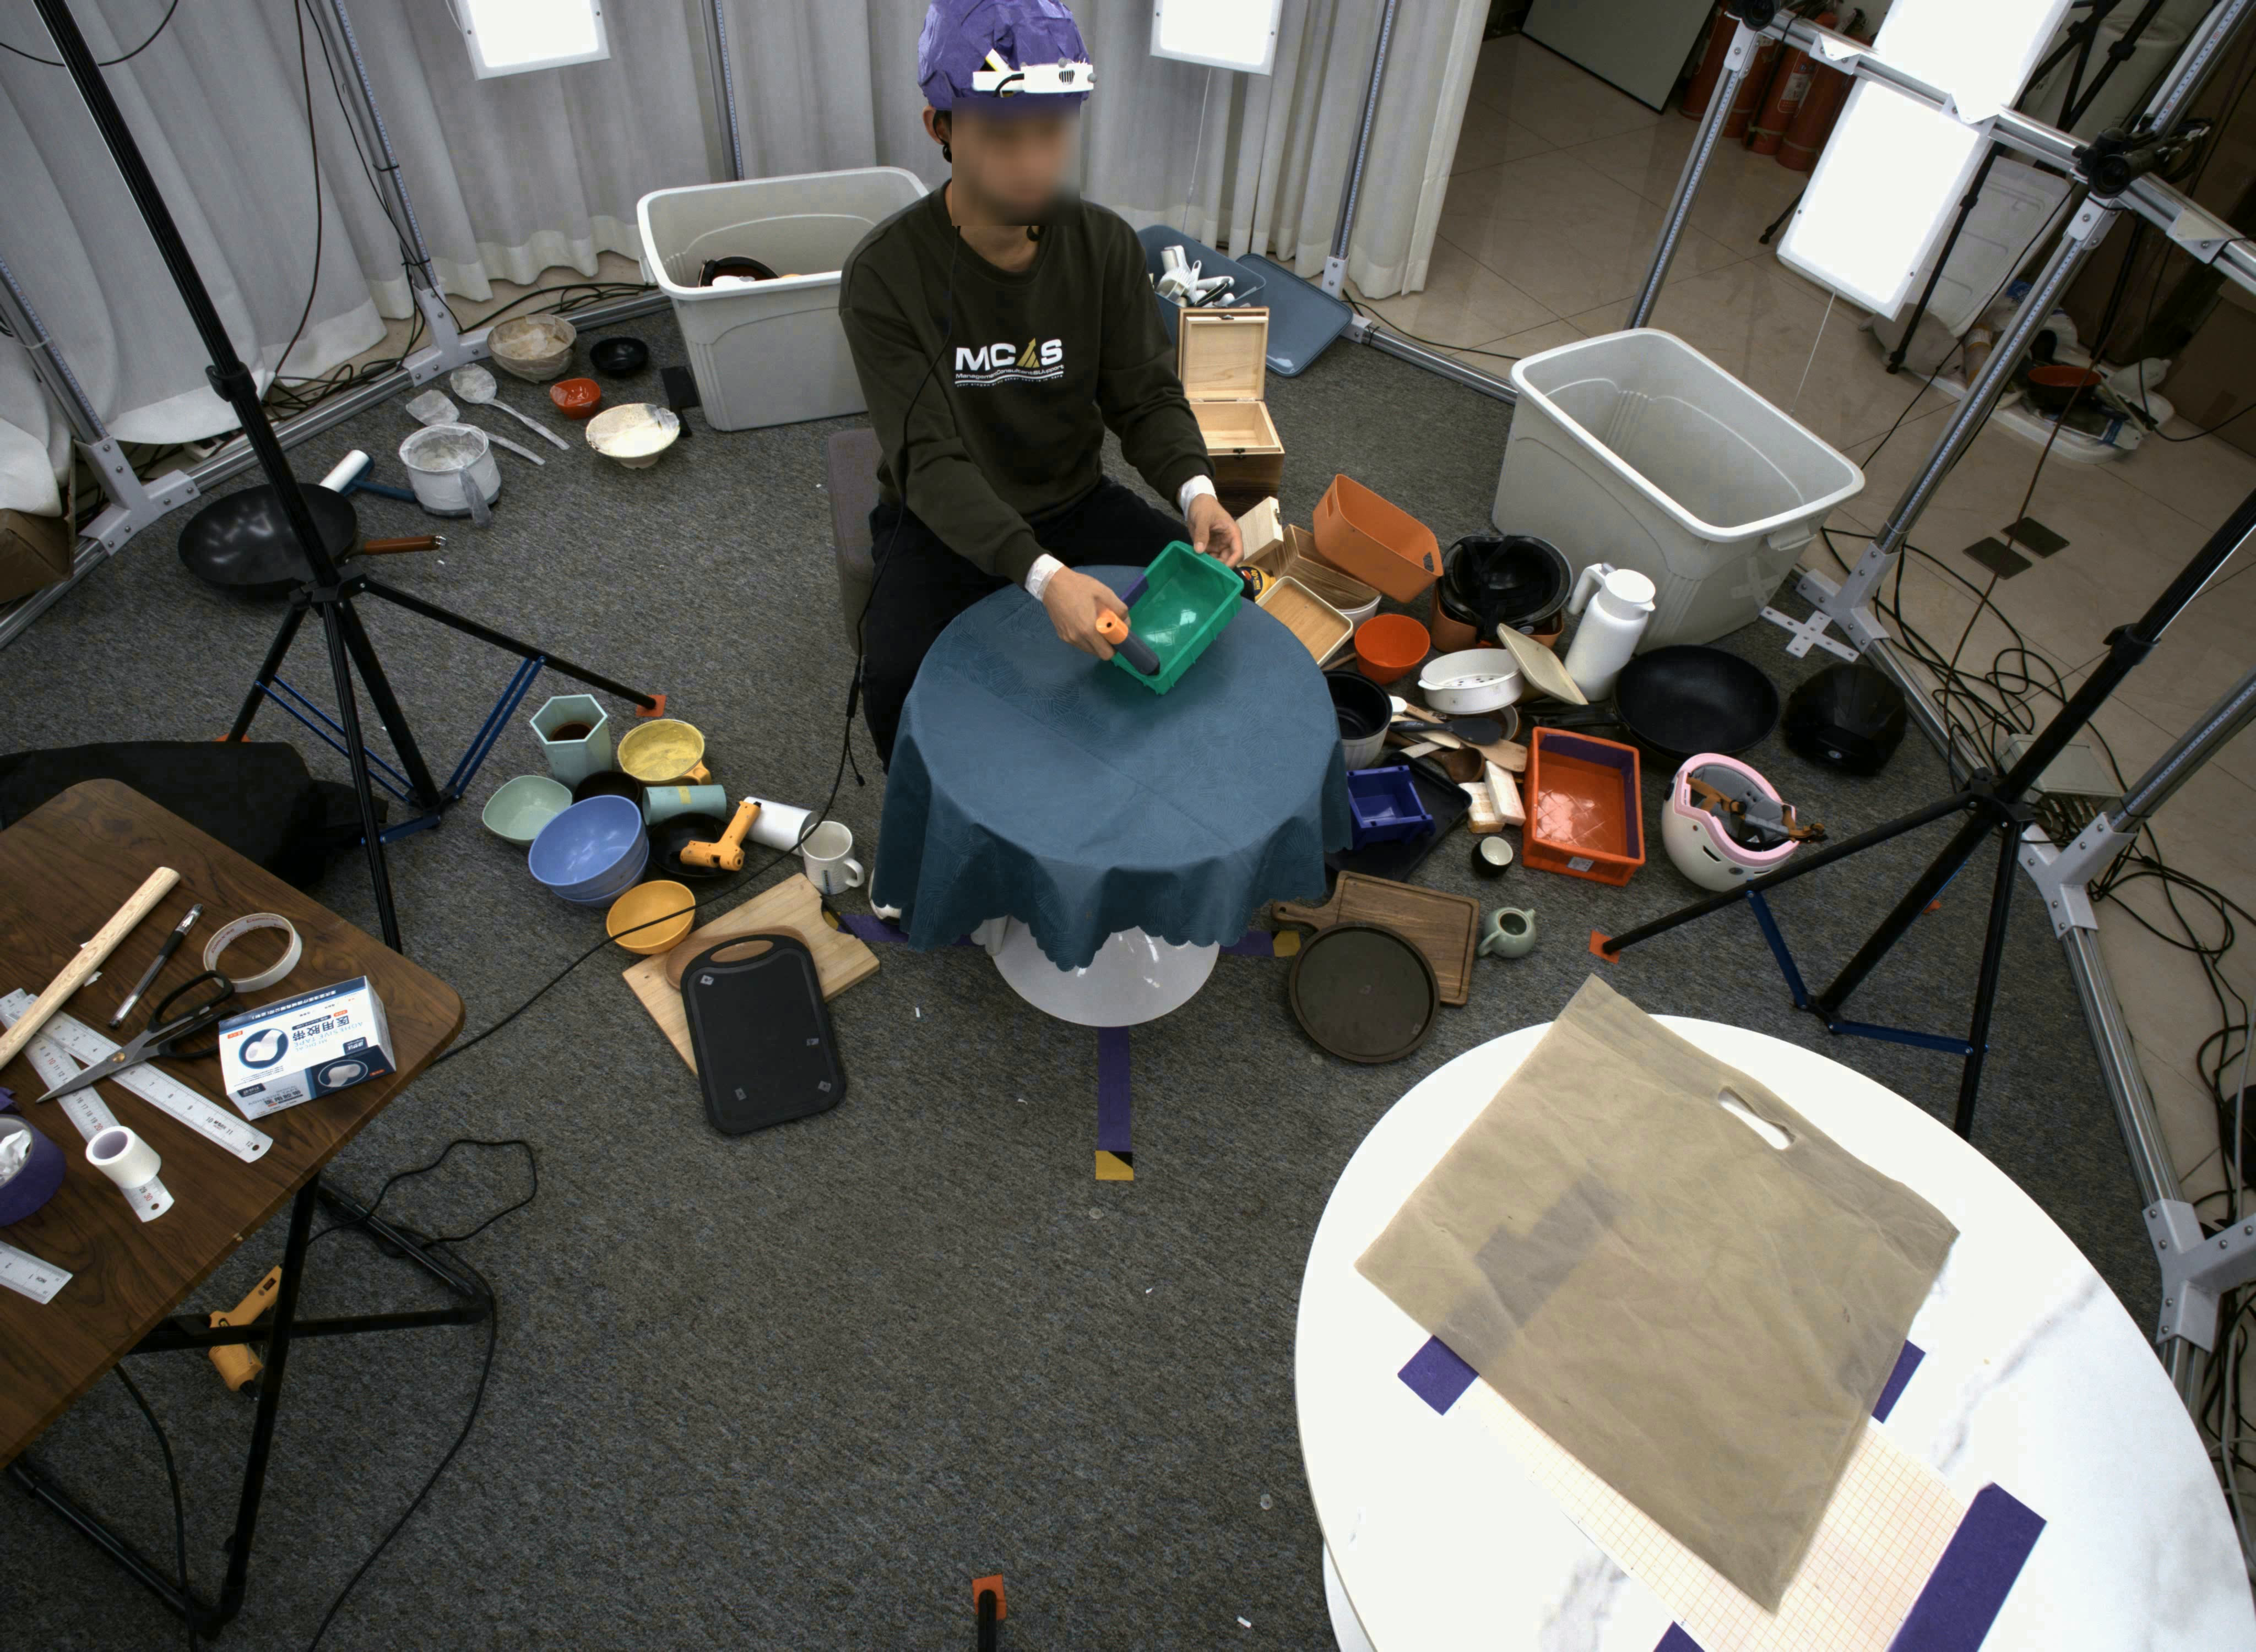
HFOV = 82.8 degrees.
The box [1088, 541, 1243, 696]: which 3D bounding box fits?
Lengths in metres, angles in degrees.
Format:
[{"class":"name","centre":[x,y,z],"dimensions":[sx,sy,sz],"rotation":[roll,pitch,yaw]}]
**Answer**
[{"class":"box","centre":[0.059,-0.294,1.842],"dimensions":[0.140,0.064,0.212],"rotation":[34,77,25]}]

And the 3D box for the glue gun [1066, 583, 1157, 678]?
[{"class":"glue gun","centre":[-0.020,-0.267,1.762],"dimensions":[0.041,0.115,0.142],"rotation":[-43,56,-1]}]
